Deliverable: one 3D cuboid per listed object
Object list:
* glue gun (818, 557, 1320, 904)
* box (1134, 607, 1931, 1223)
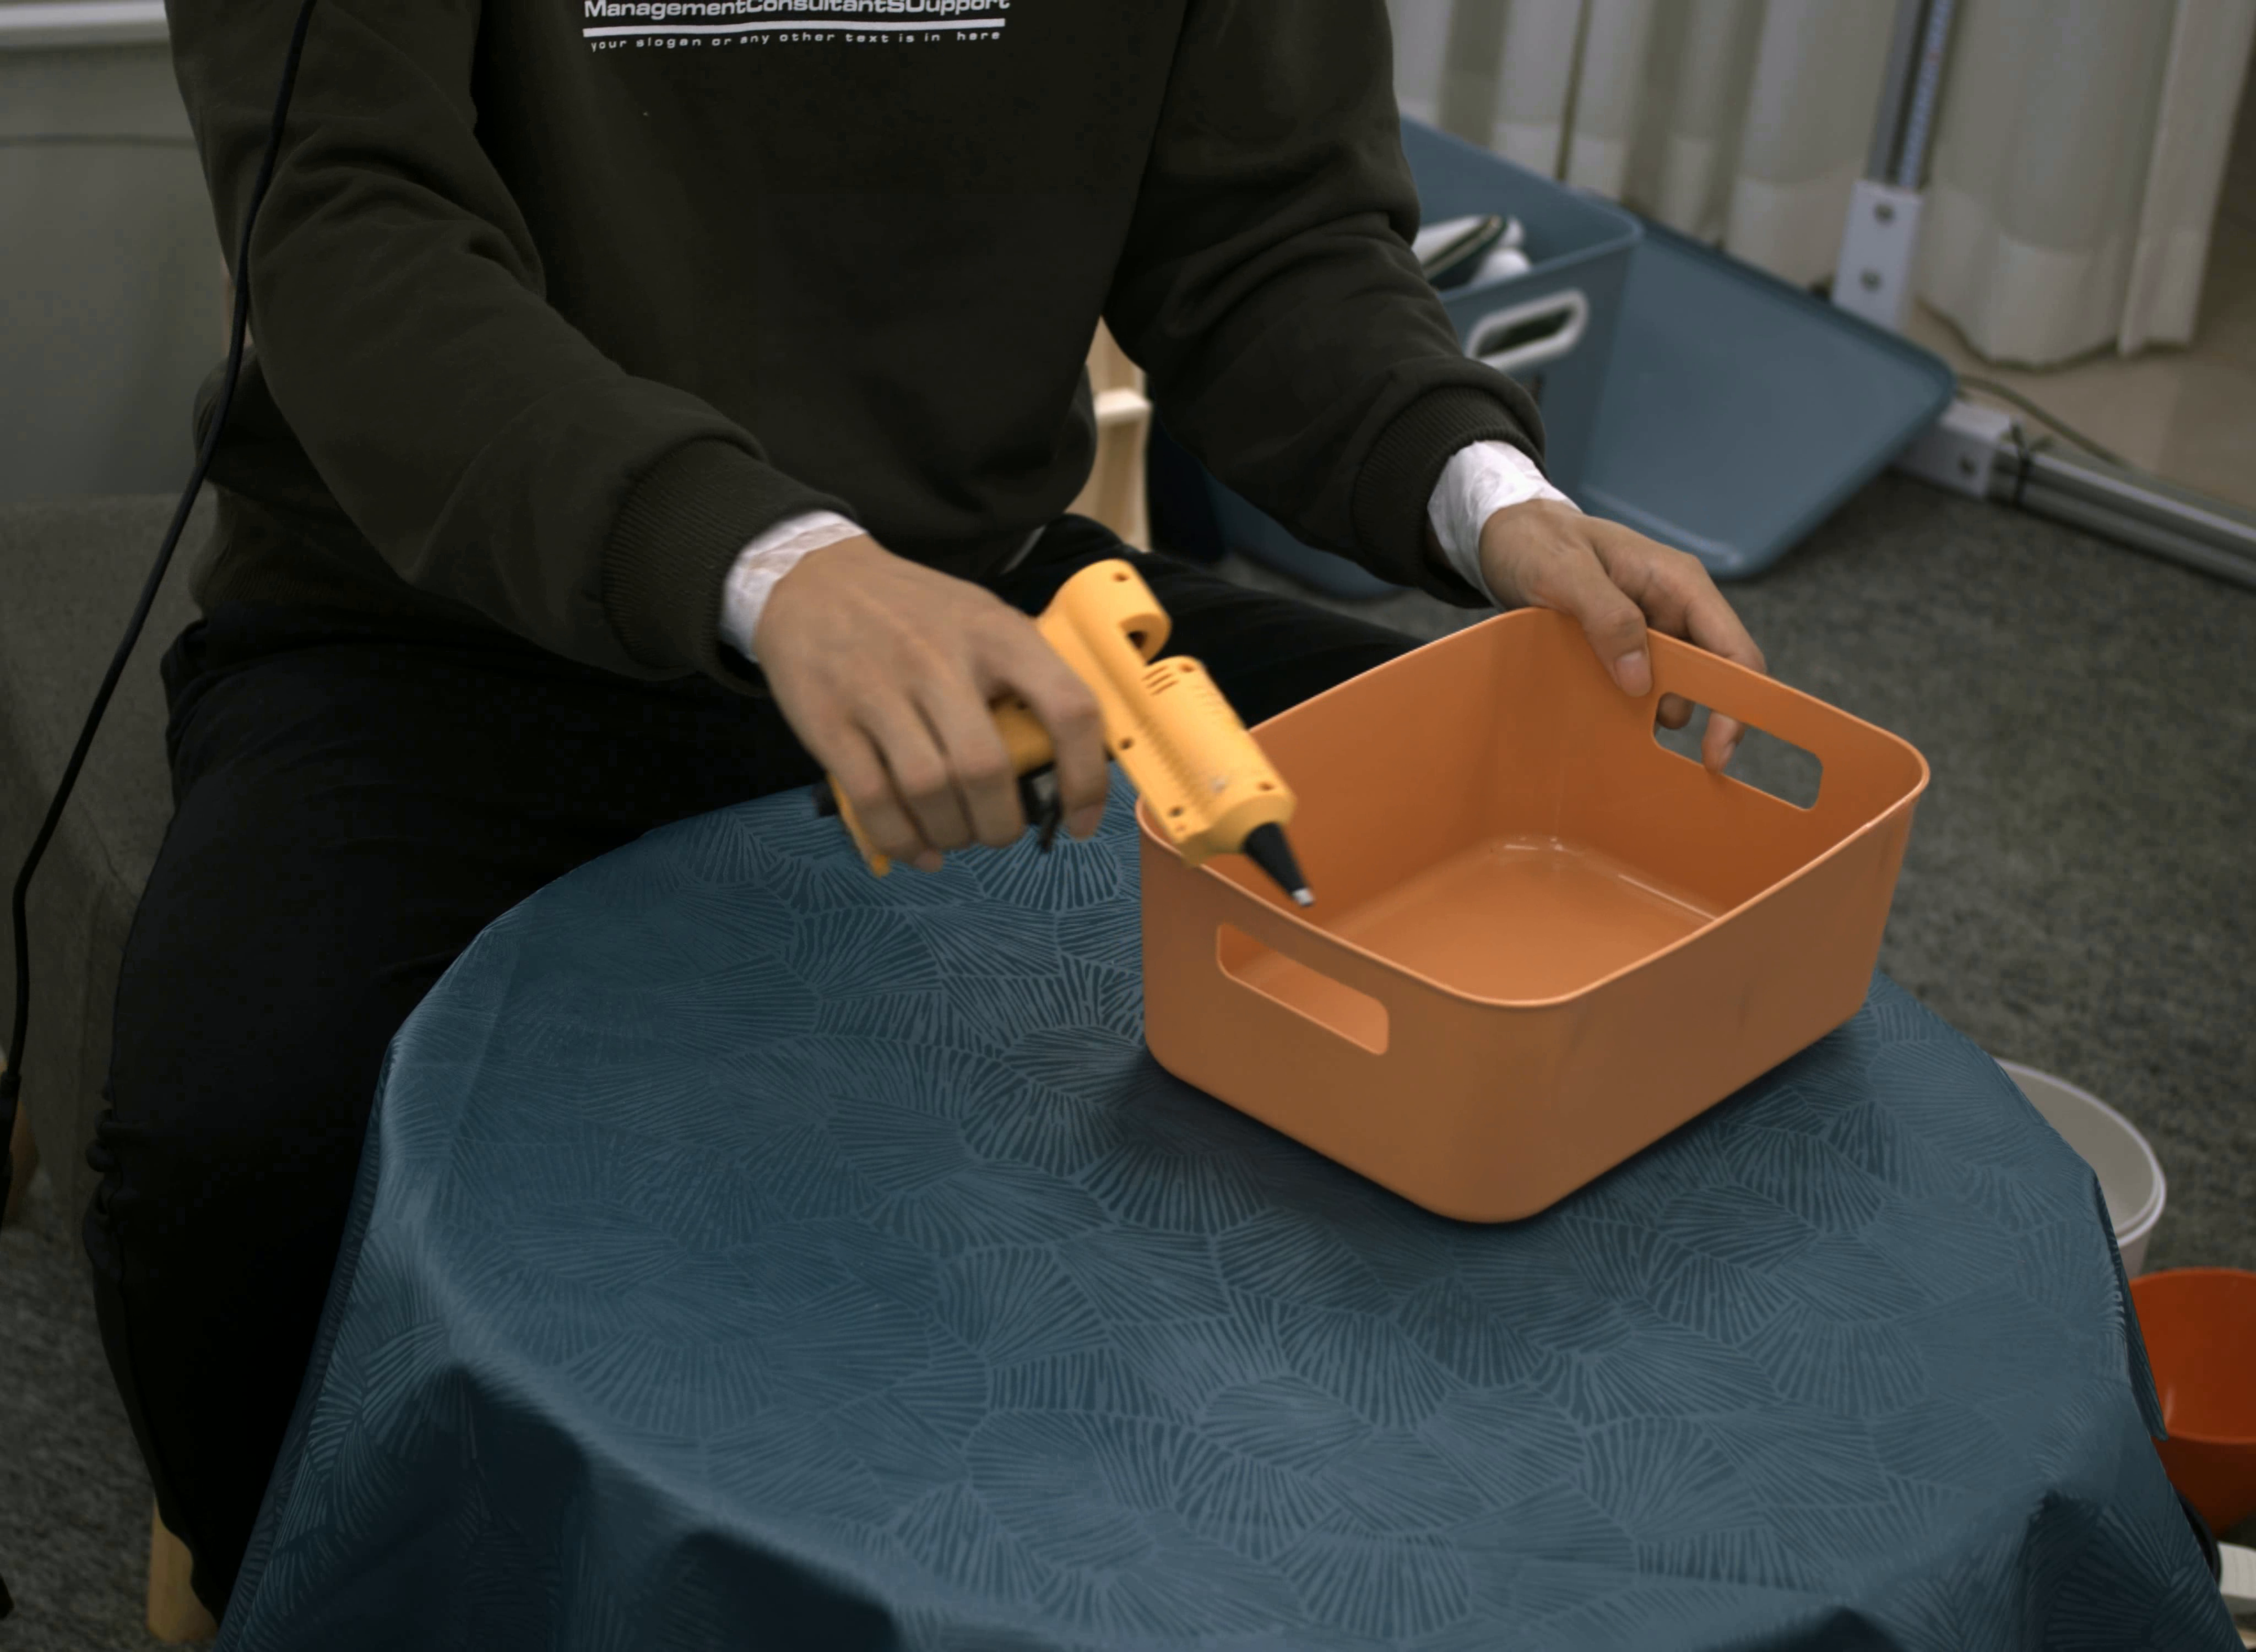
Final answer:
[{"bbox_3d":[-0.011,-0.002,1.740,0.133,0.031,0.152,-37,58,-5],"label":"glue gun"},{"bbox_3d":[0.141,0.030,1.906,0.201,0.102,0.272,25,35,34],"label":"box"}]
